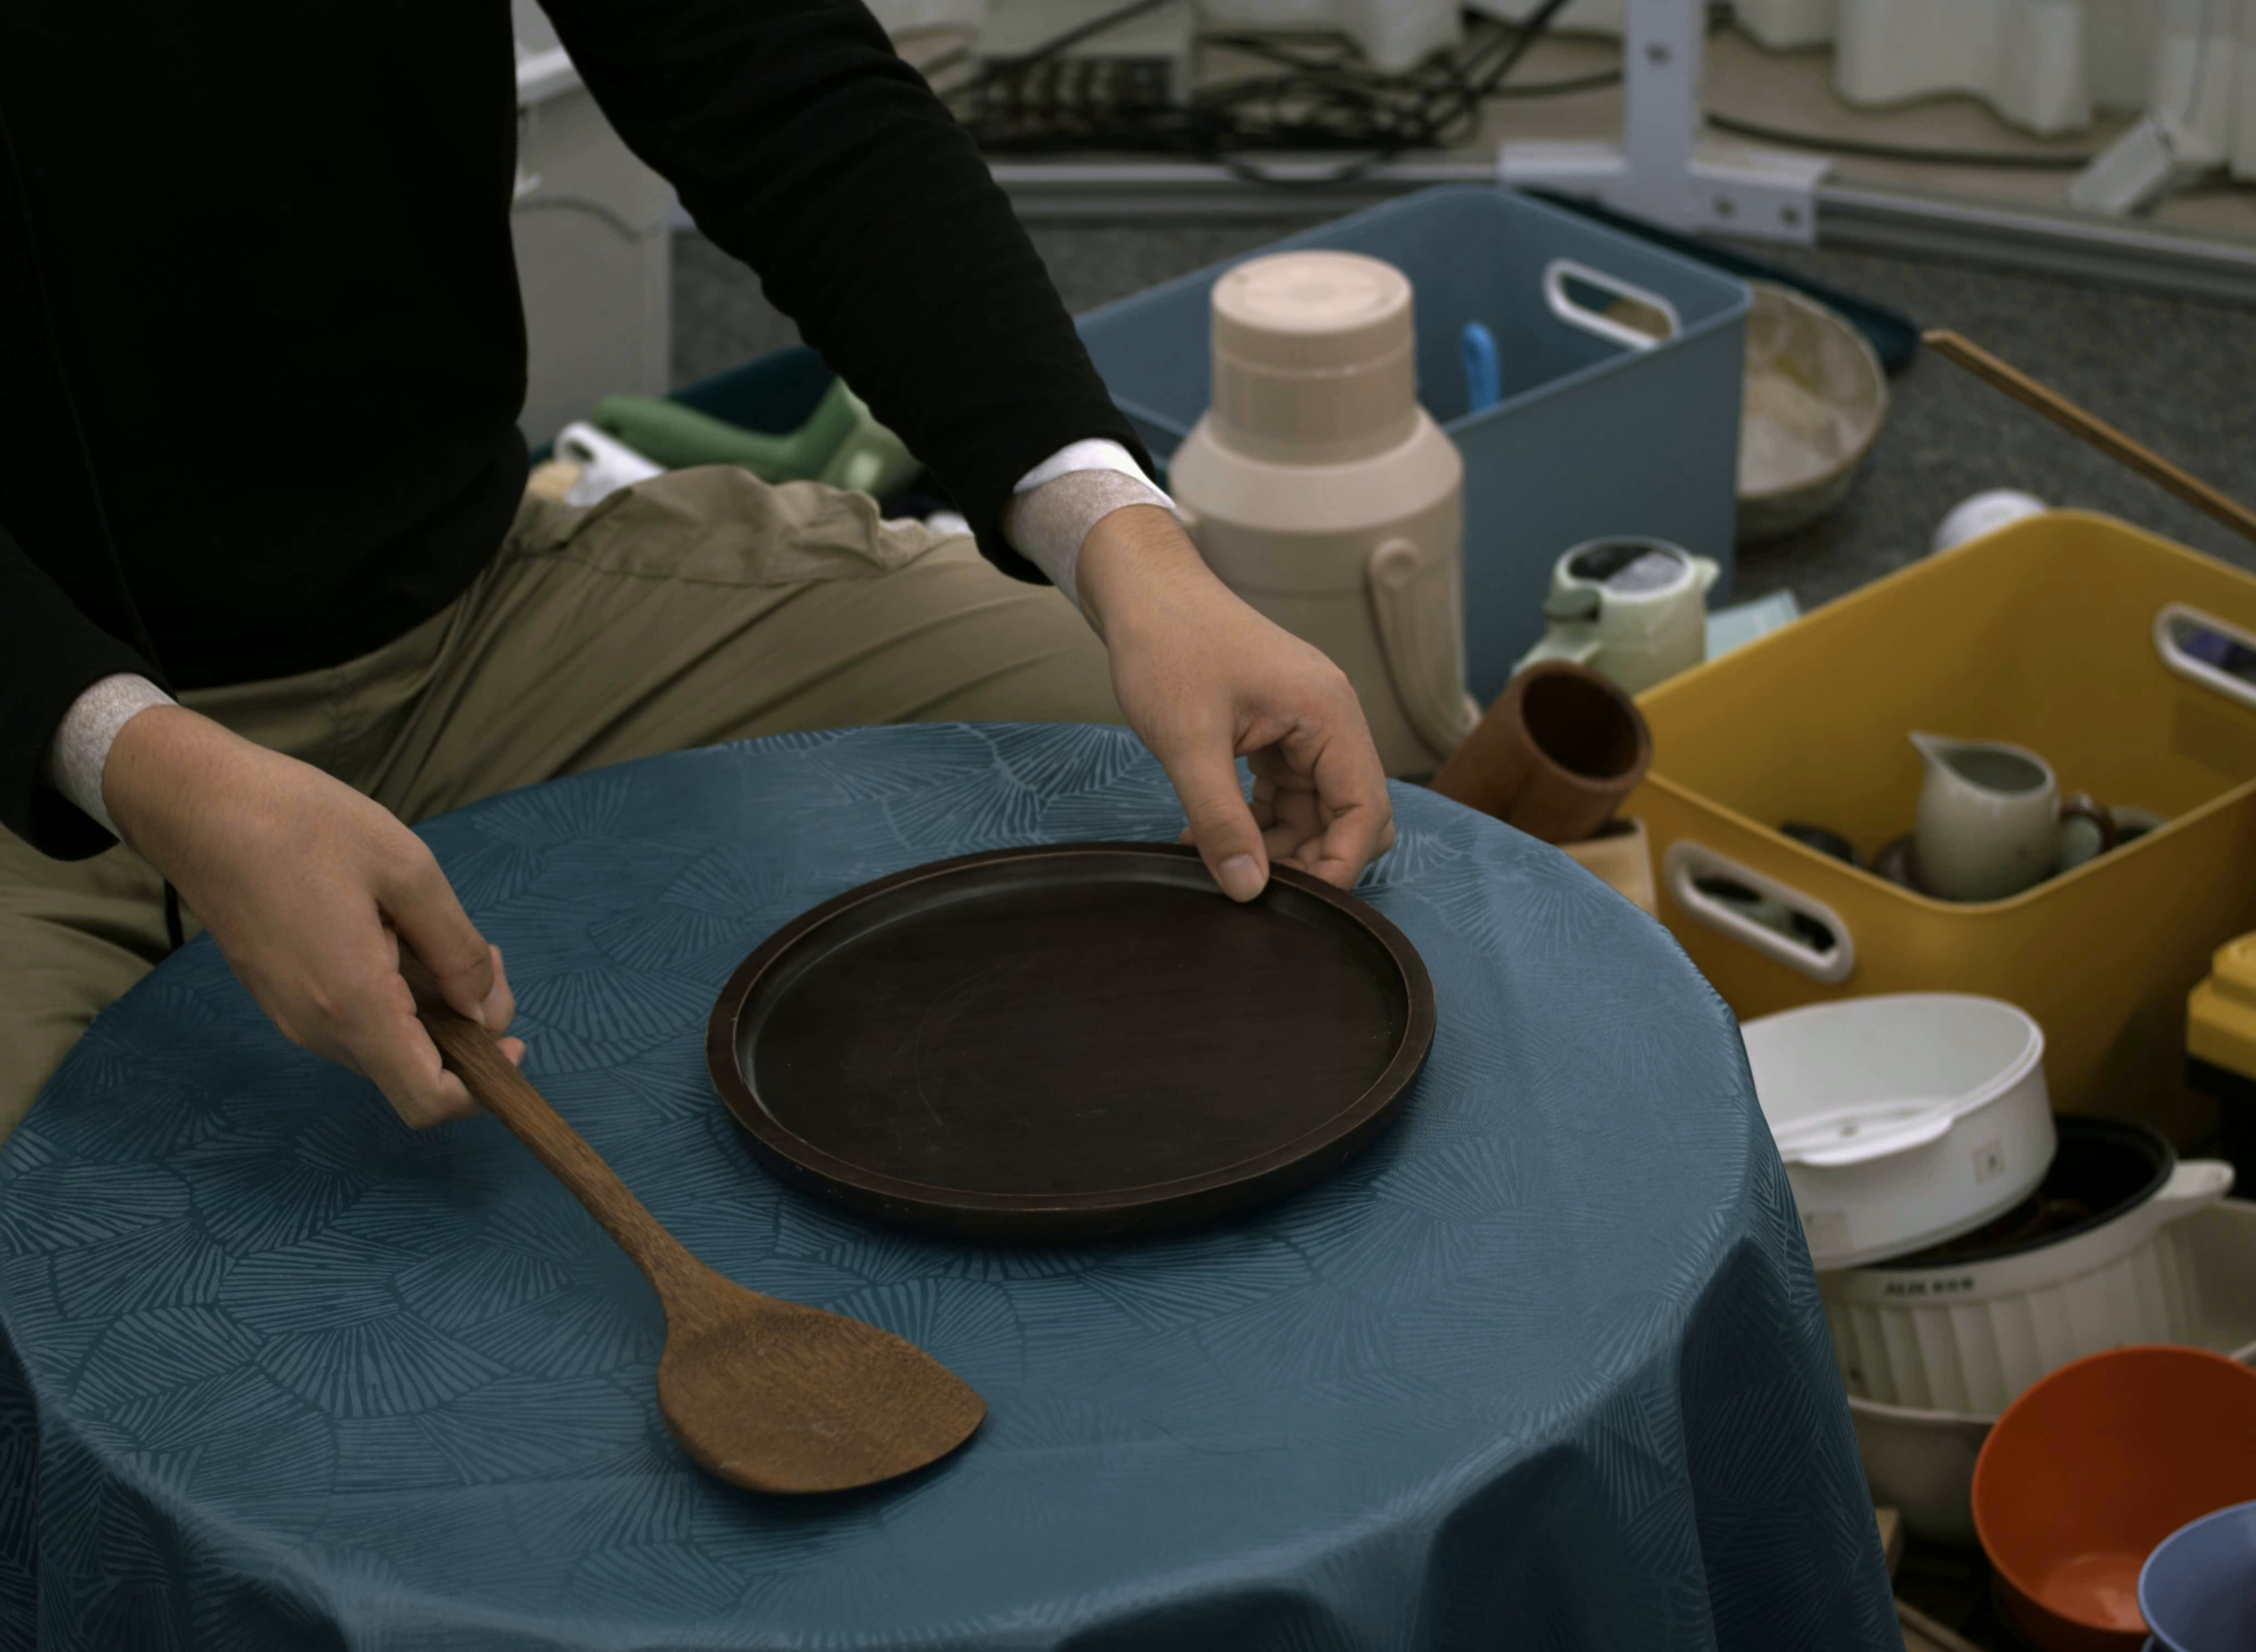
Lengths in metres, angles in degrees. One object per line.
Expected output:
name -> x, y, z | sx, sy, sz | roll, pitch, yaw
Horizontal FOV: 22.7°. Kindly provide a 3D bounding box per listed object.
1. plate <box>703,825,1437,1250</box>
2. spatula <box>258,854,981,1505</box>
plate -> -0.020, 0.074, 1.929 | 0.253, 0.029, 0.259 | -3, 28, 2
spatula -> -0.186, 0.106, 1.831 | 0.097, 0.015, 0.388 | -14, 39, -34
